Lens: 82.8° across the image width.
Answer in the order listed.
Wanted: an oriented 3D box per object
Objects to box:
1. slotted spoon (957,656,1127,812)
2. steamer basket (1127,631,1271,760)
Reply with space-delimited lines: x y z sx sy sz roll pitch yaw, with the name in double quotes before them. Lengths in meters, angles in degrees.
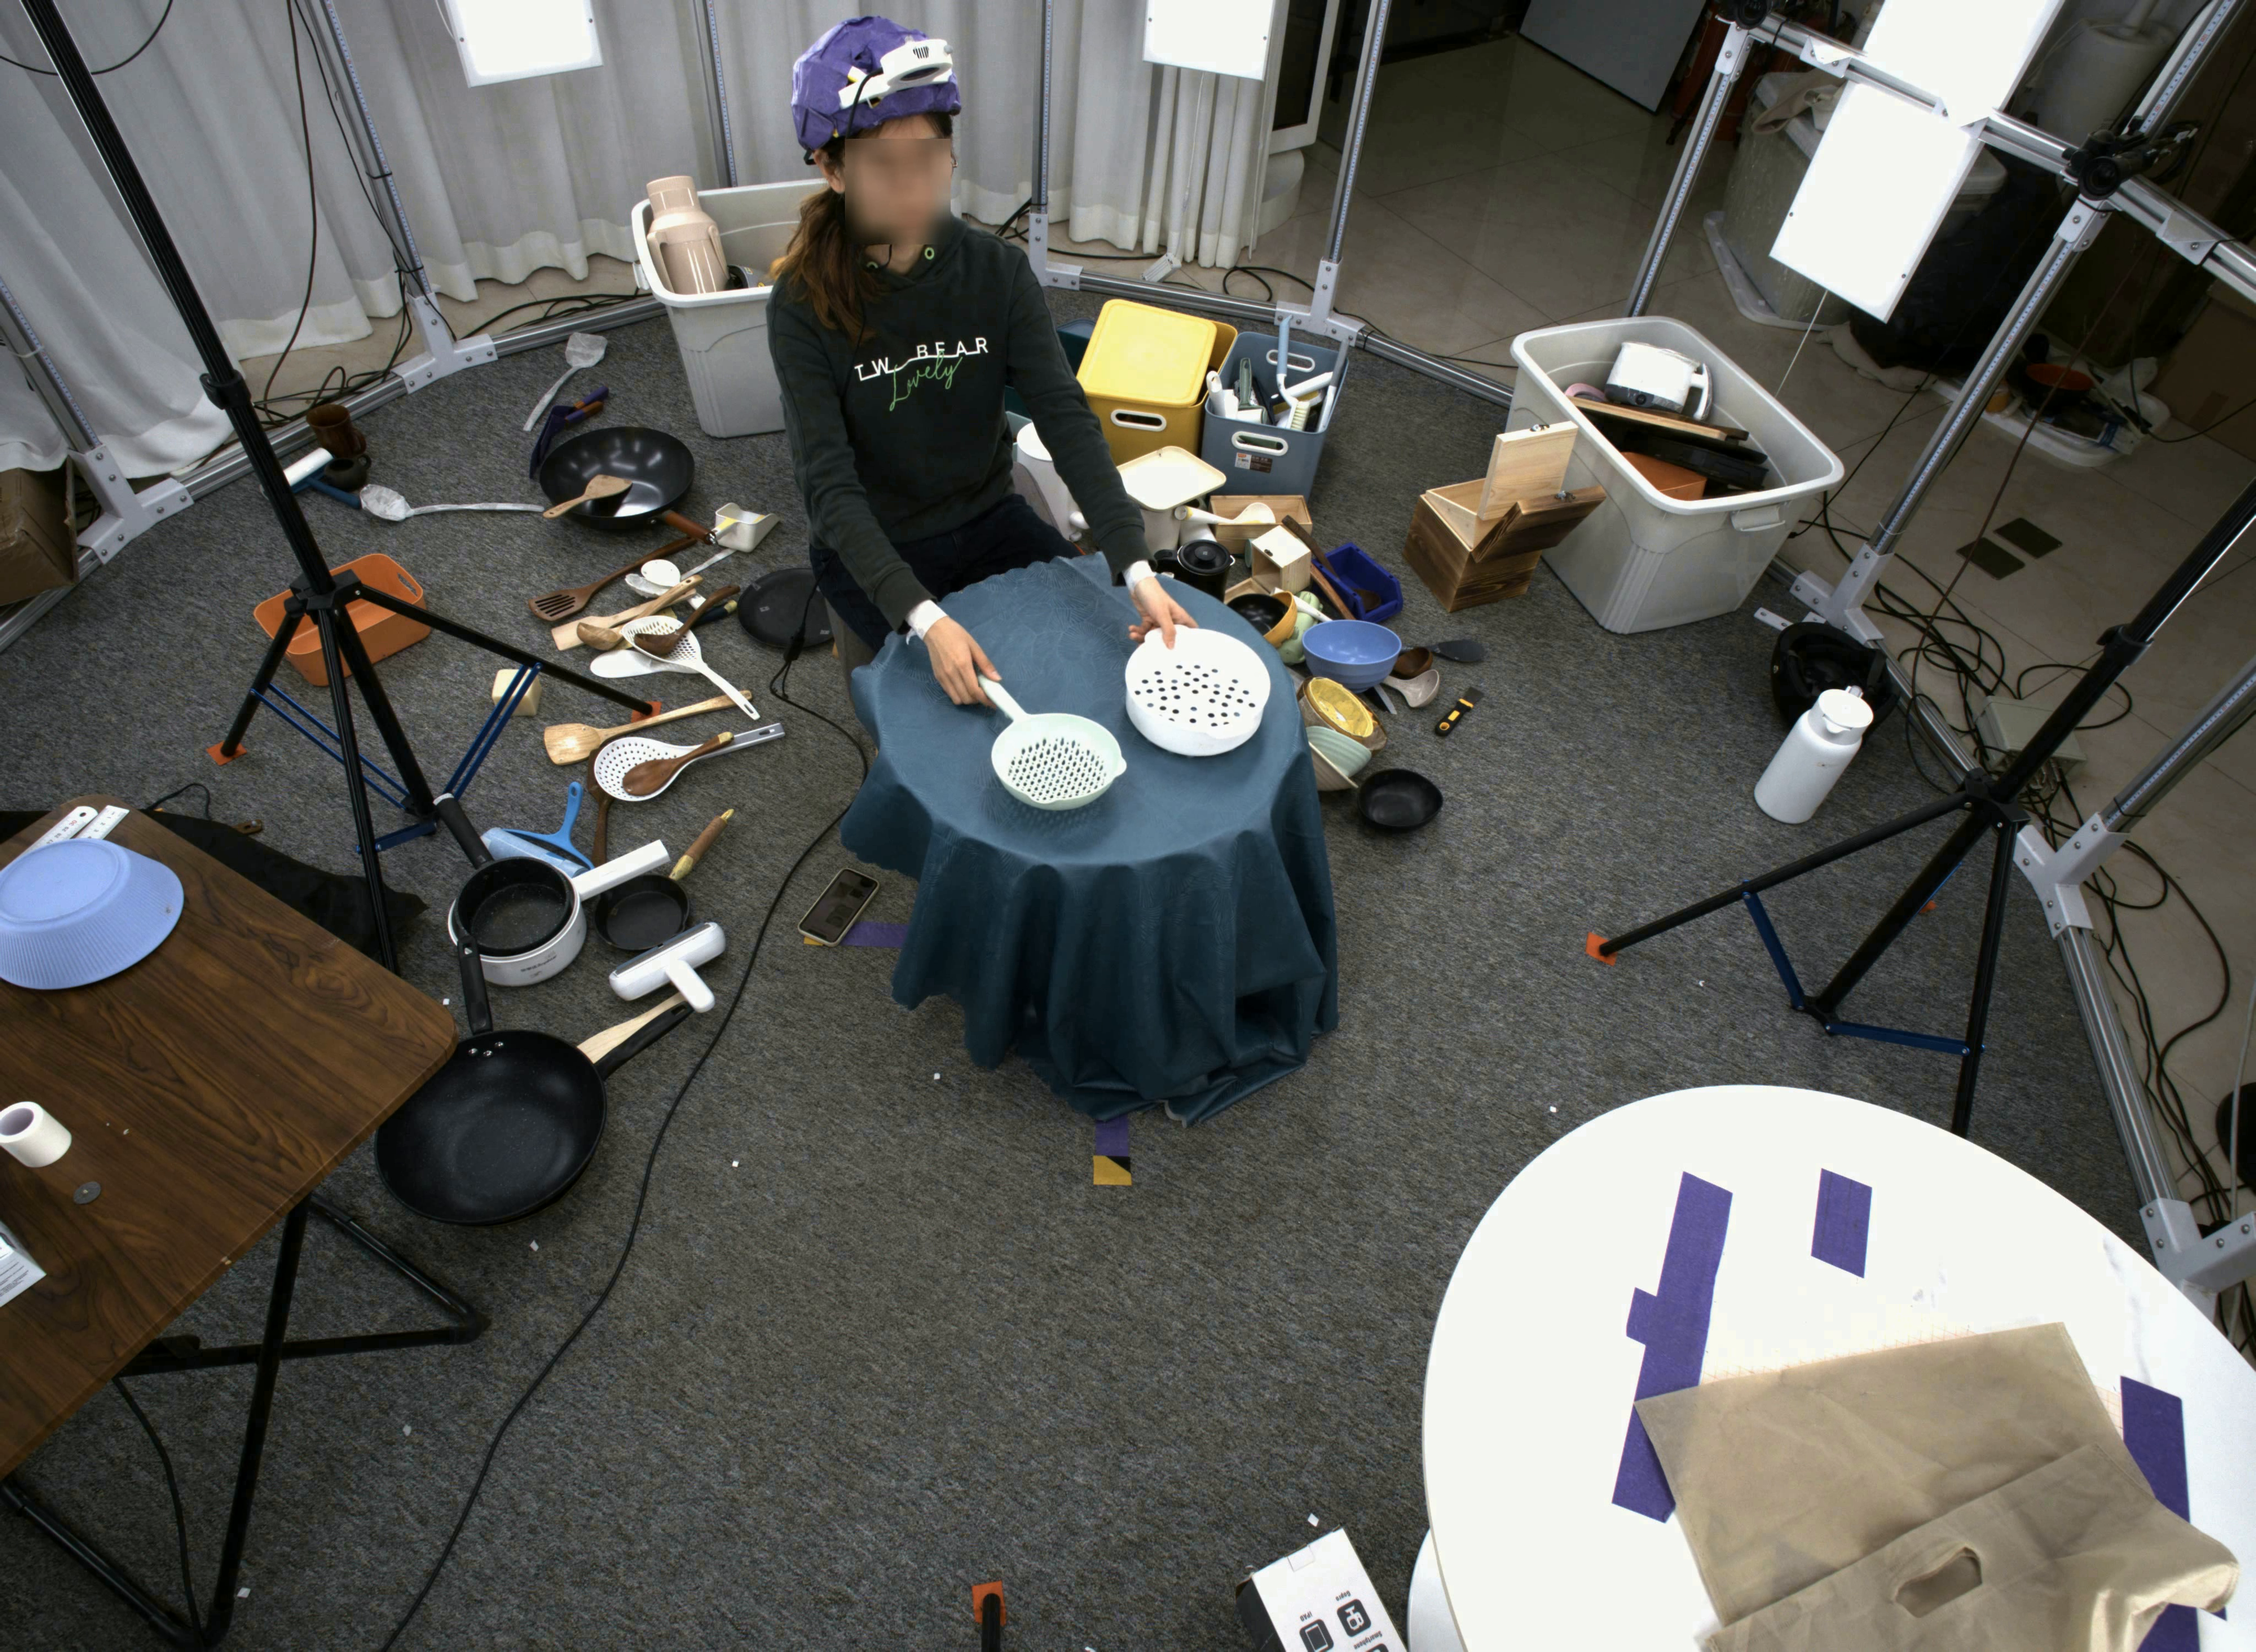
"slotted spoon" -0.145 -0.142 1.752 0.170 0.073 0.366 -22 56 -24
"steamer basket" 0.098 -0.180 1.807 0.202 0.067 0.236 -17 52 -19
